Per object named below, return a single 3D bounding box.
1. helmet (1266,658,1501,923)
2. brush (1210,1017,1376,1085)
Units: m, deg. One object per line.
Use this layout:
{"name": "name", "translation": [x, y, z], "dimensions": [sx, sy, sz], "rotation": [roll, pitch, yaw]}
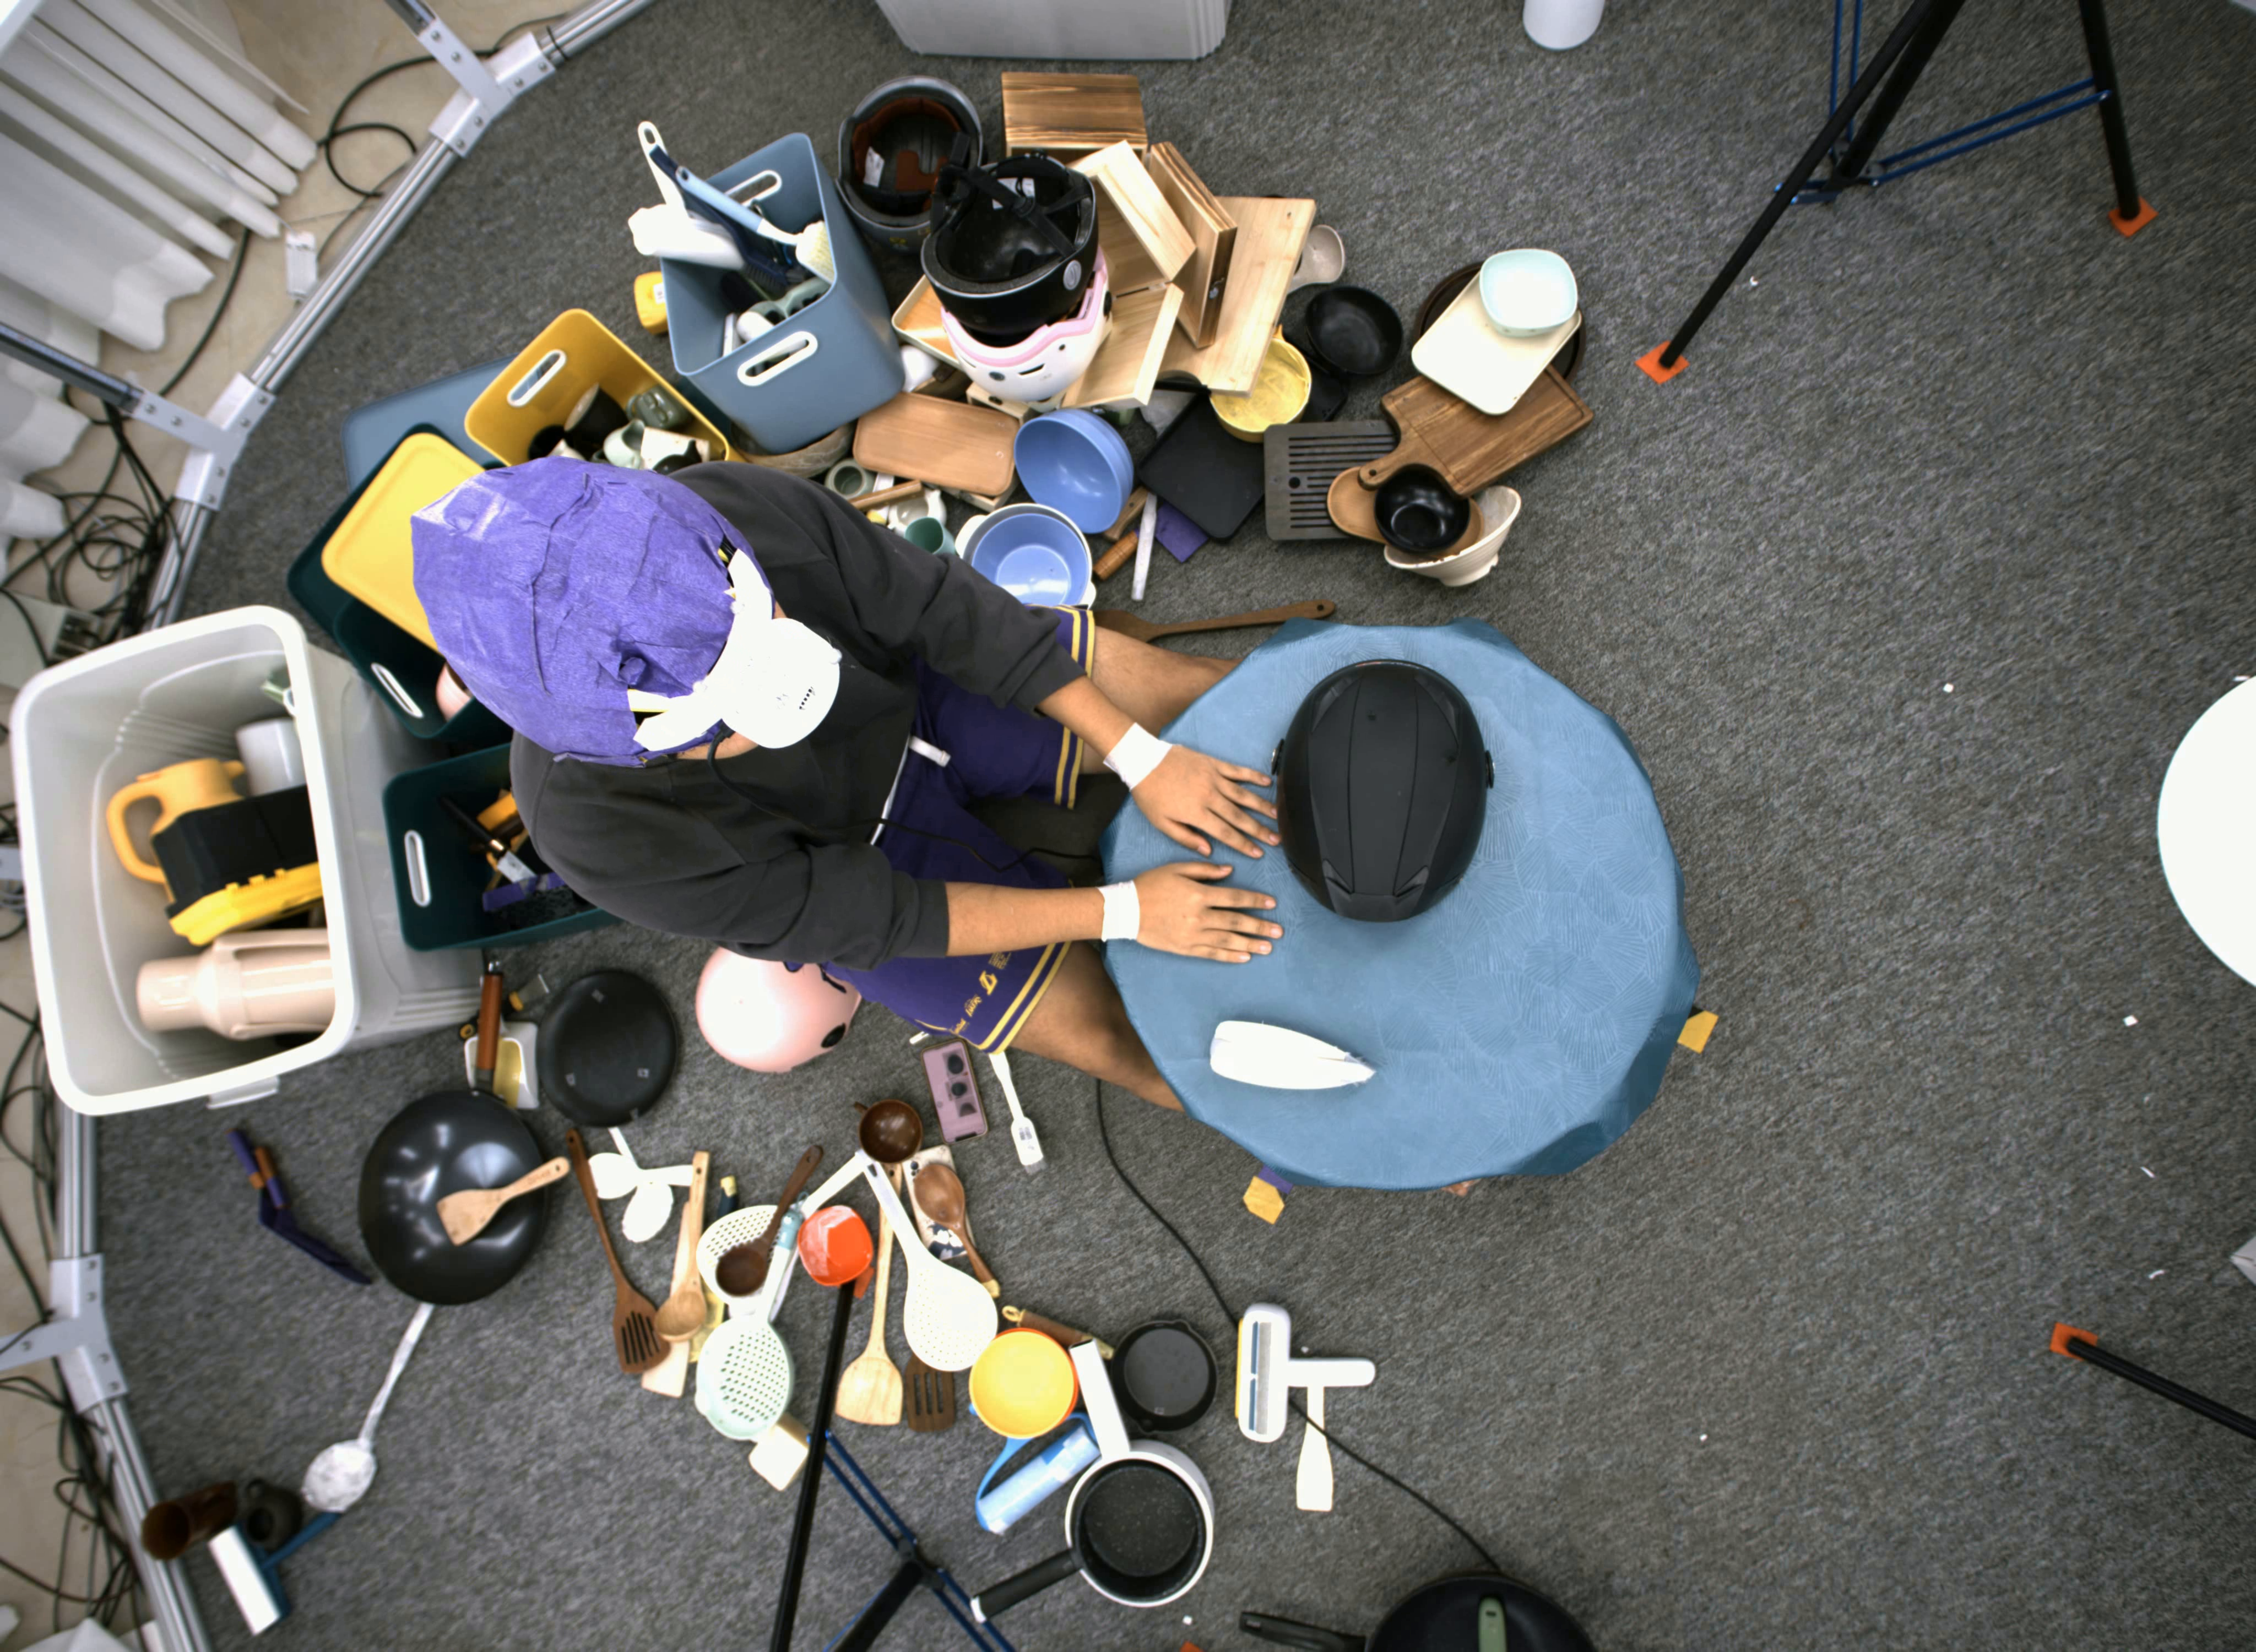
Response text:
{"name": "helmet", "translation": [0.257, -0.040, 1.388], "dimensions": [0.247, 0.172, 0.277], "rotation": [6, 91, 10]}
{"name": "brush", "translation": [0.168, 0.237, 1.423], "dimensions": [0.176, 0.094, 0.061], "rotation": [10, 88, 9]}
